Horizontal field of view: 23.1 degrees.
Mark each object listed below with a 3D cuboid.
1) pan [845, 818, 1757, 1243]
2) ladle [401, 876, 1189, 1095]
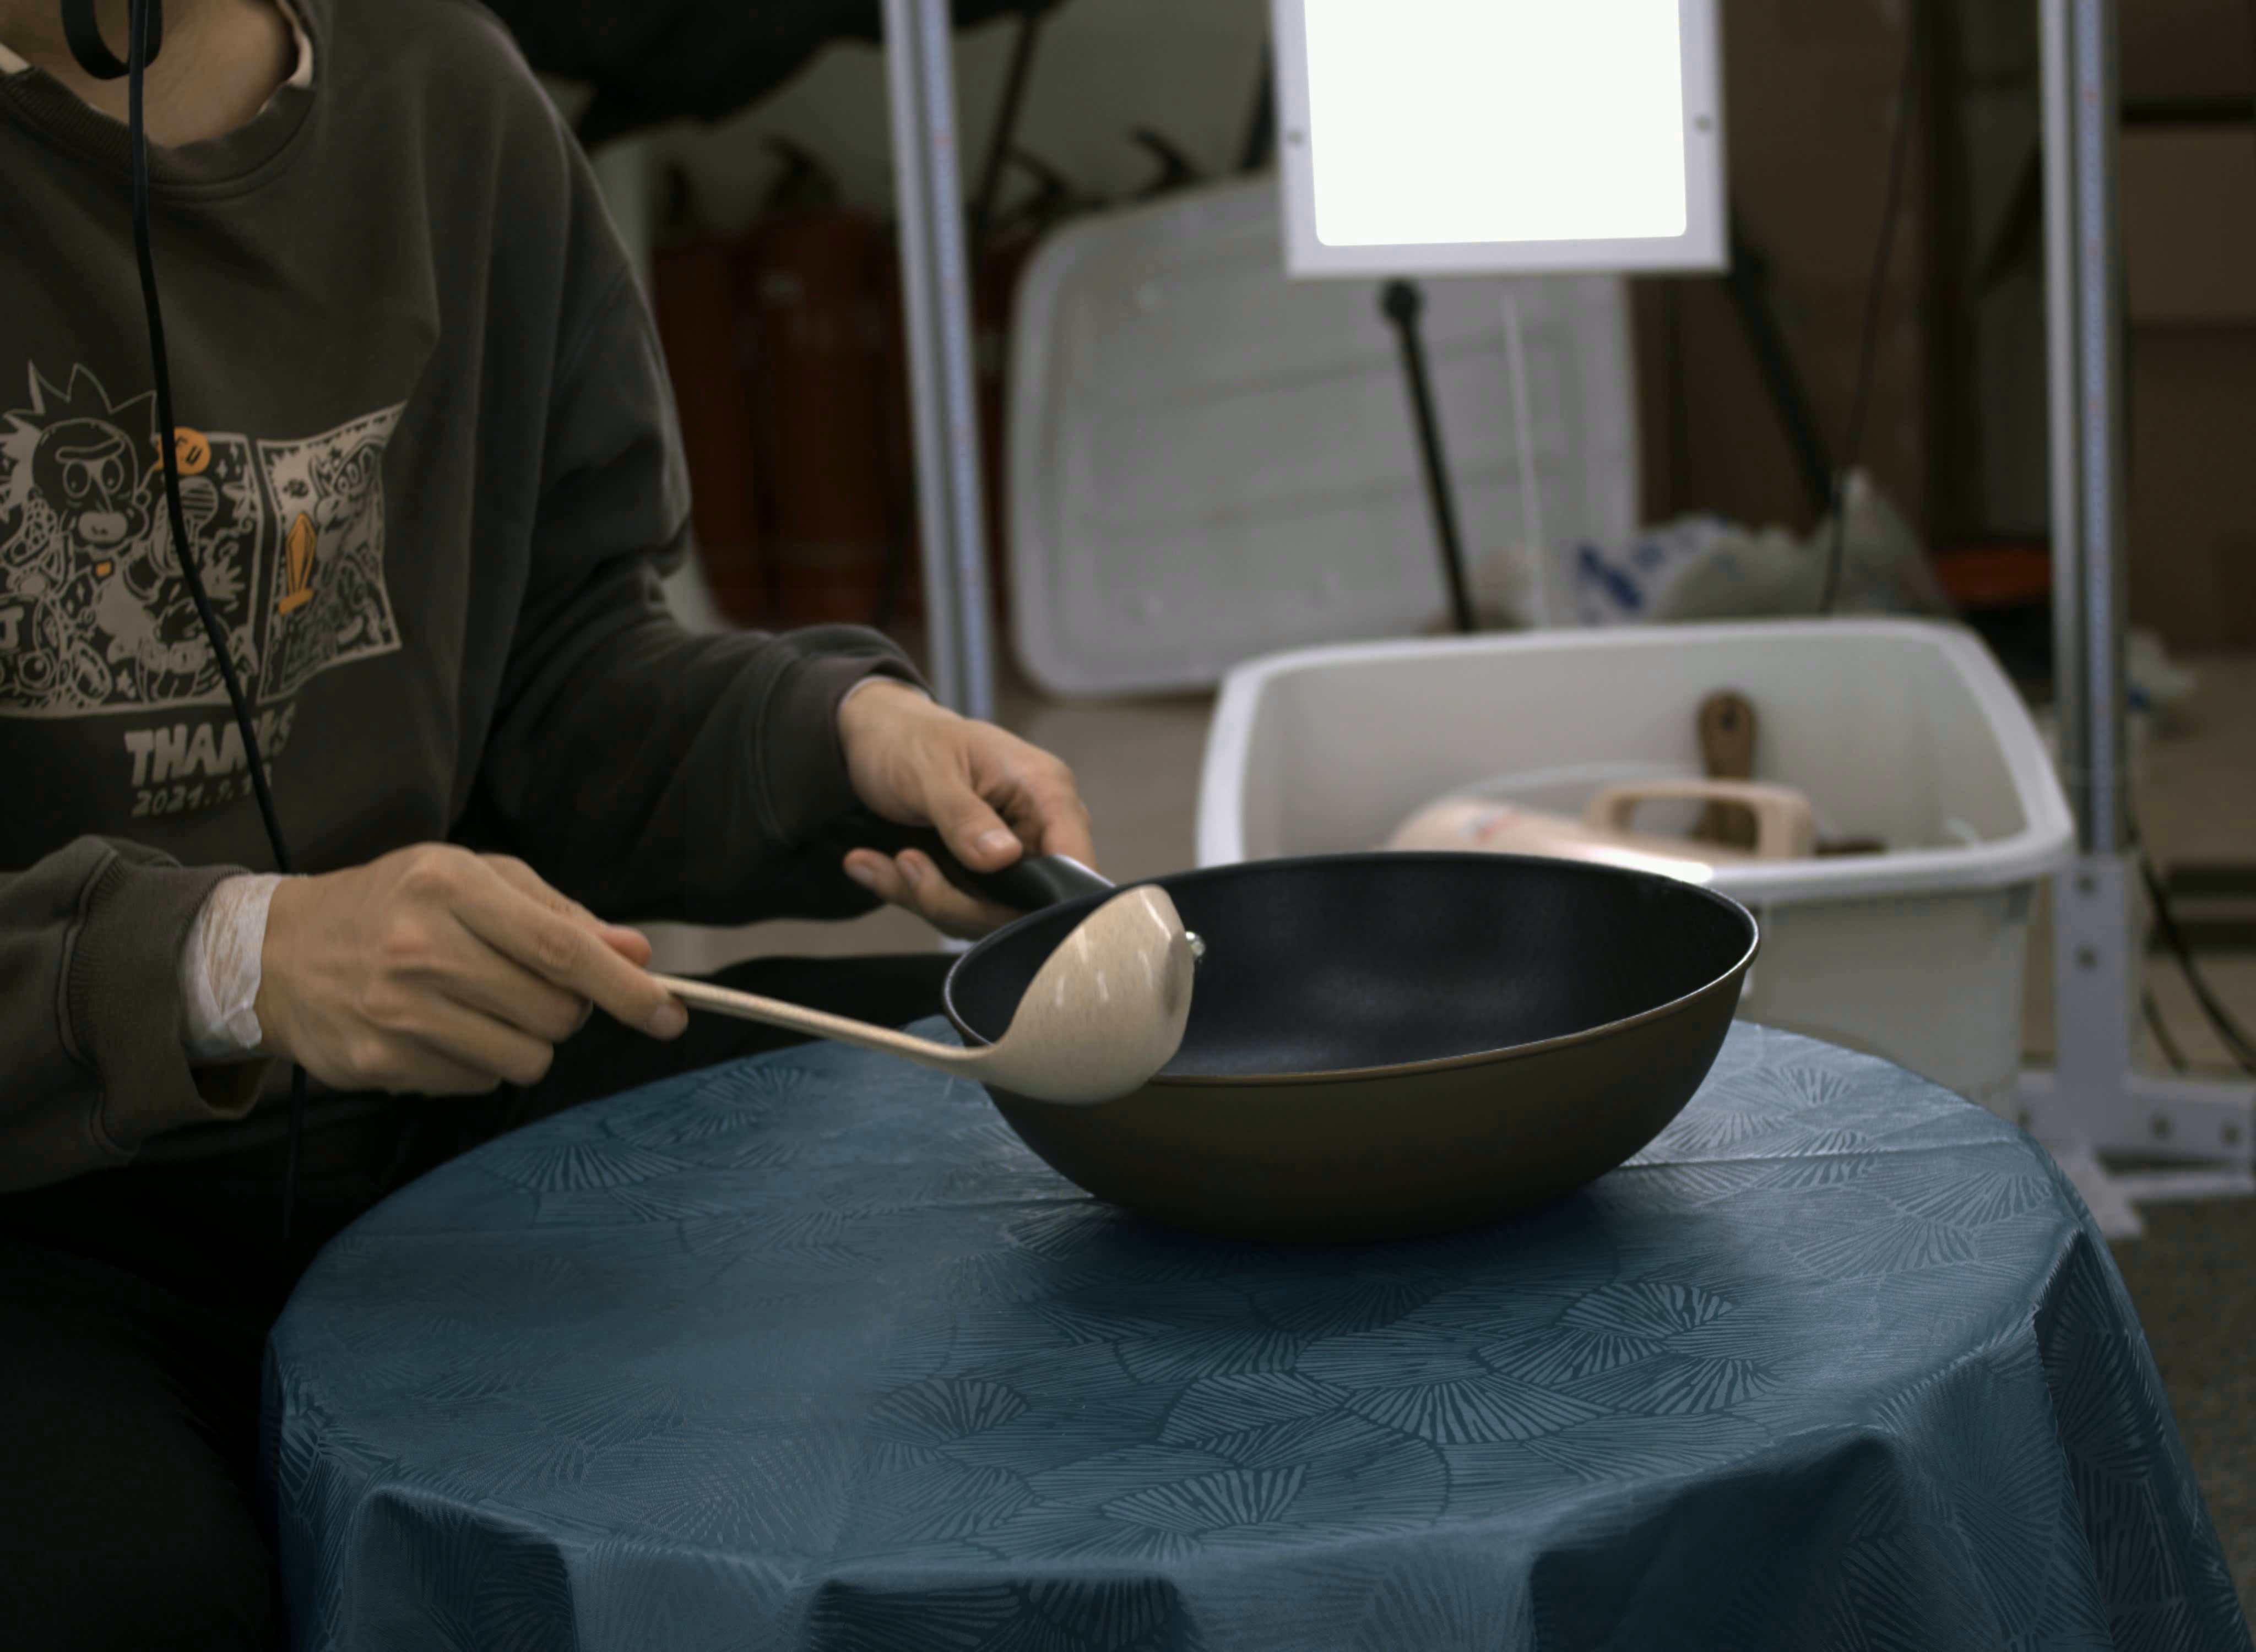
[{"bbox_3d":[0.025,0.067,1.953,0.281,0.087,0.472,-14,15,-31],"label":"pan"},{"bbox_3d":[-0.105,0.029,1.747,0.257,0.072,0.071,12,-17,18],"label":"ladle"}]
